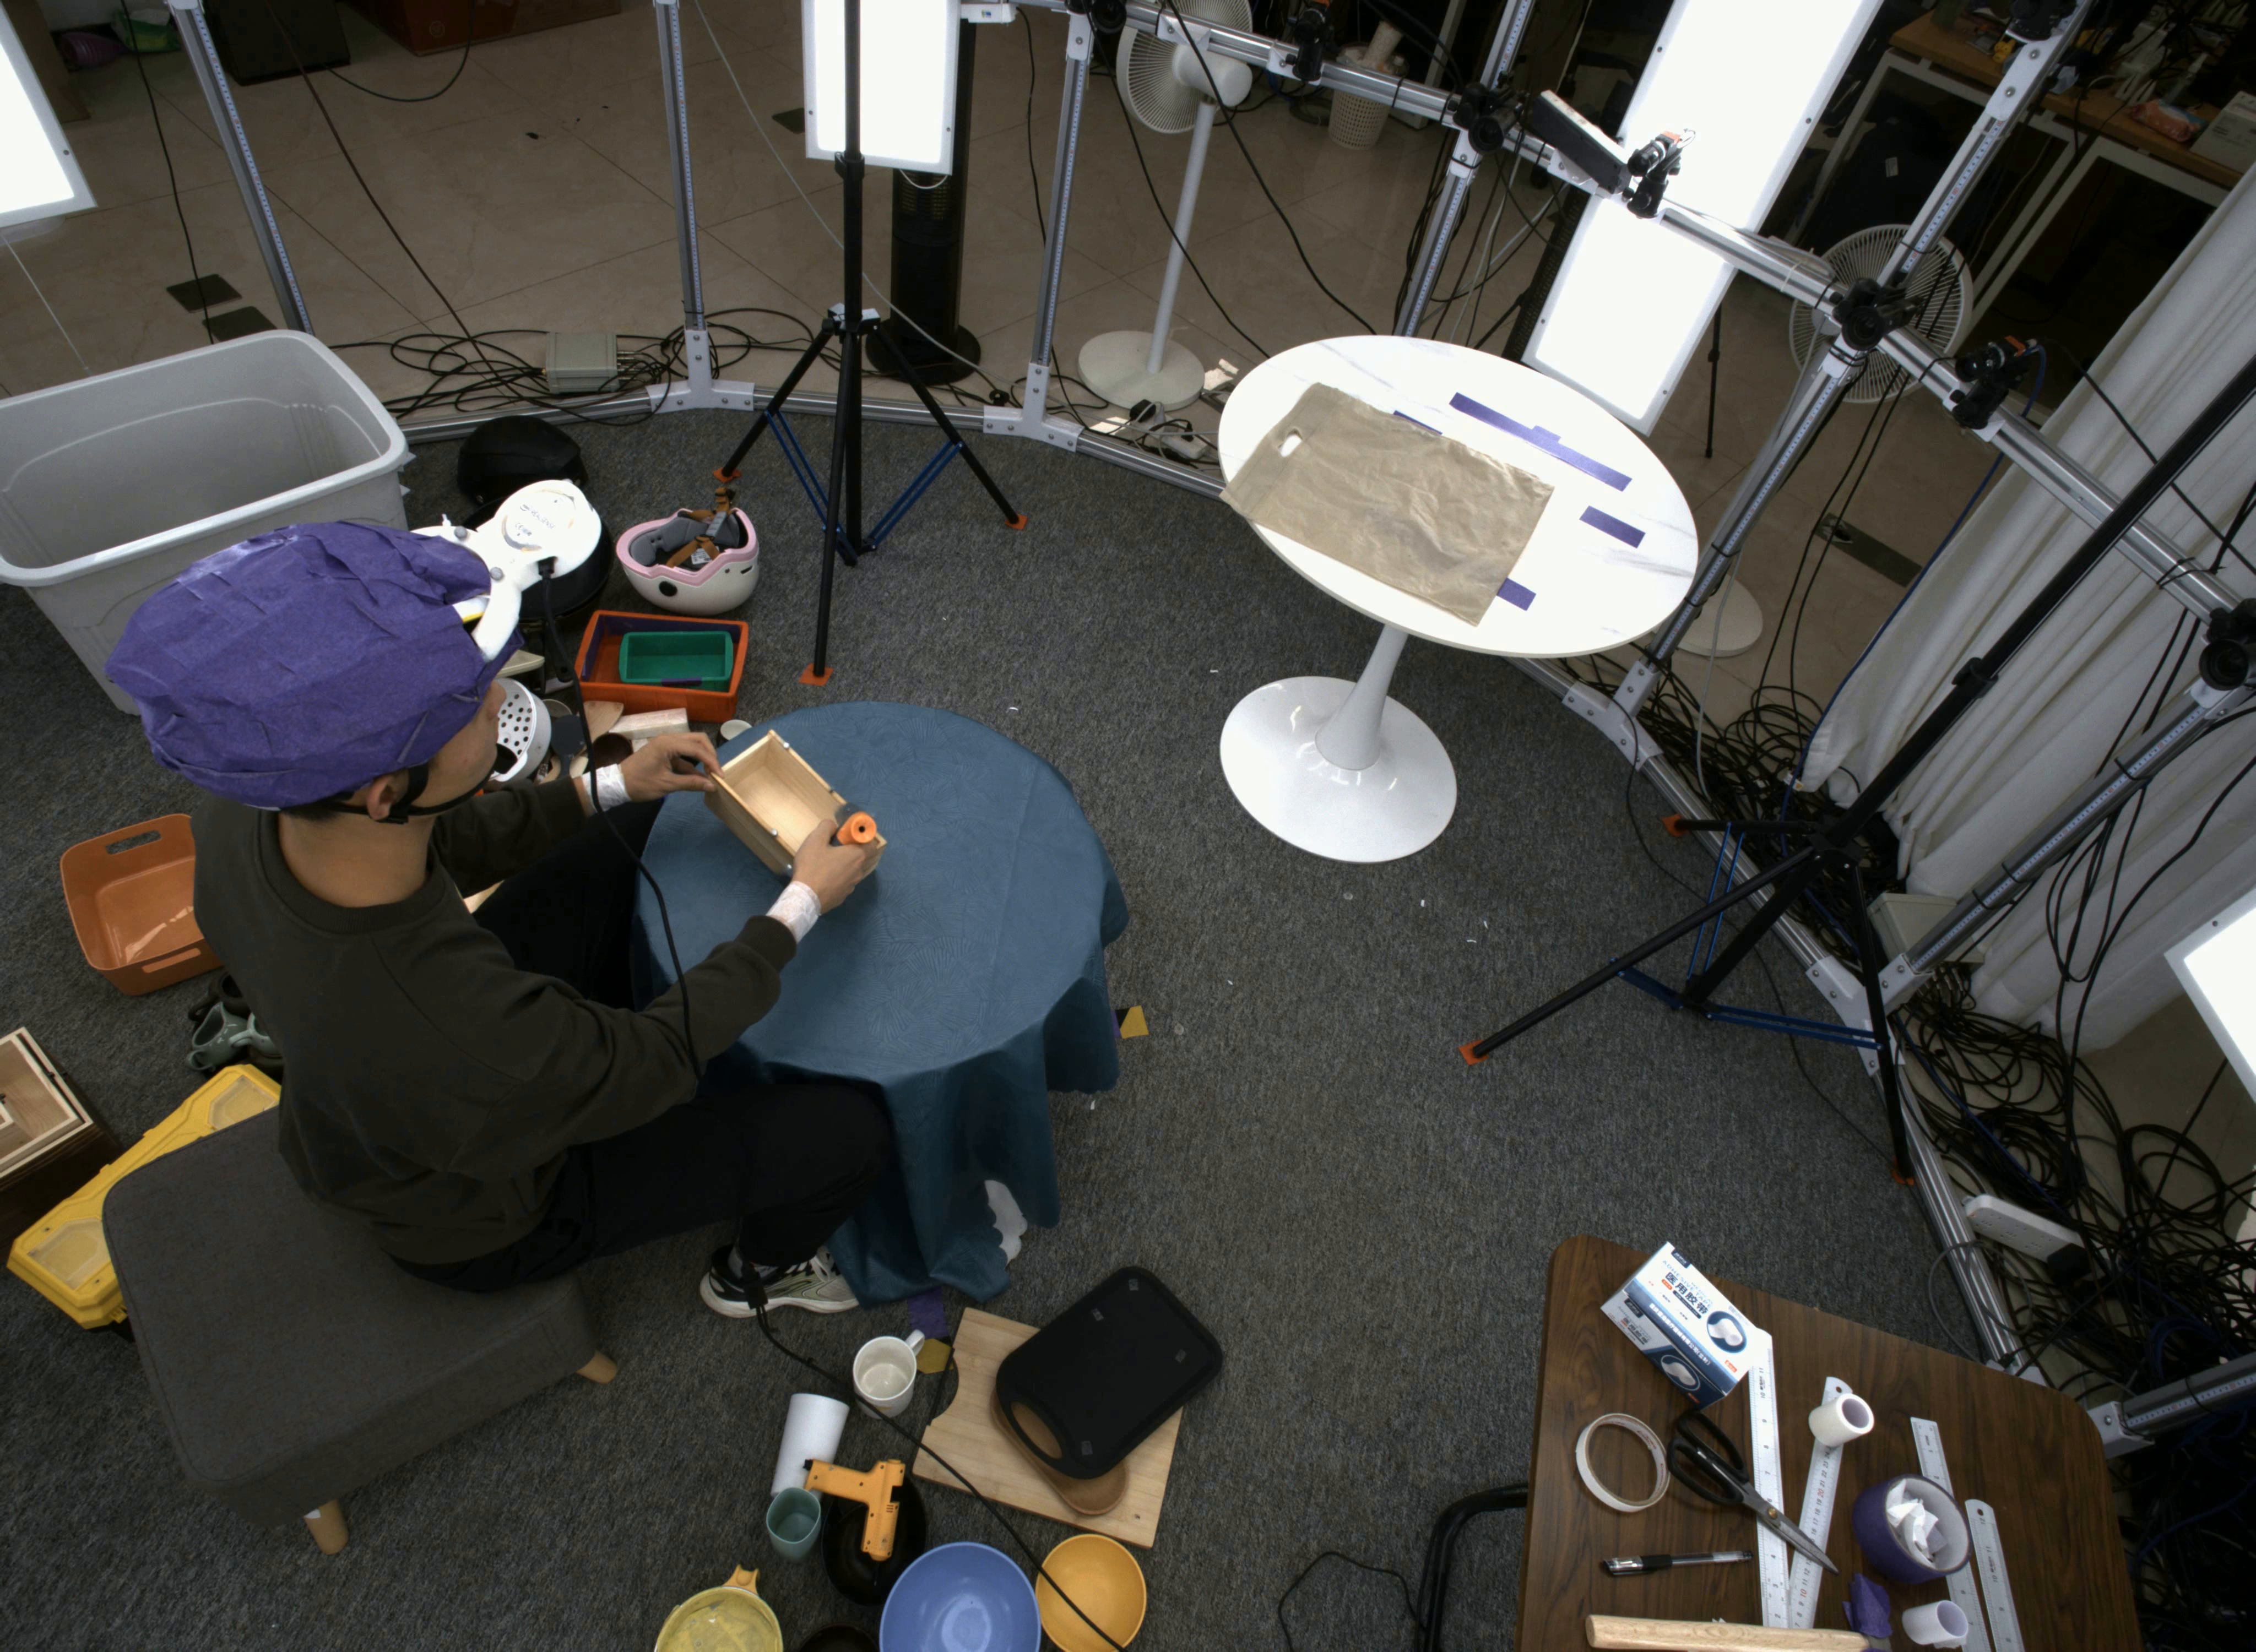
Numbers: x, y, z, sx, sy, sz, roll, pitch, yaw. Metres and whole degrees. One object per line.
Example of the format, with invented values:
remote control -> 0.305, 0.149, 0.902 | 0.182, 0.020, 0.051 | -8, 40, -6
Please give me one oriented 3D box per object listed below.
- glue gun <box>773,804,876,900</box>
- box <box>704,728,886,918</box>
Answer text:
glue gun -> -0.361, 0.024, 1.564 | 0.139, 0.115, 0.042 | -49, 113, -25
box -> -0.423, -0.005, 1.642 | 0.211, 0.080, 0.107 | 44, 56, 2
